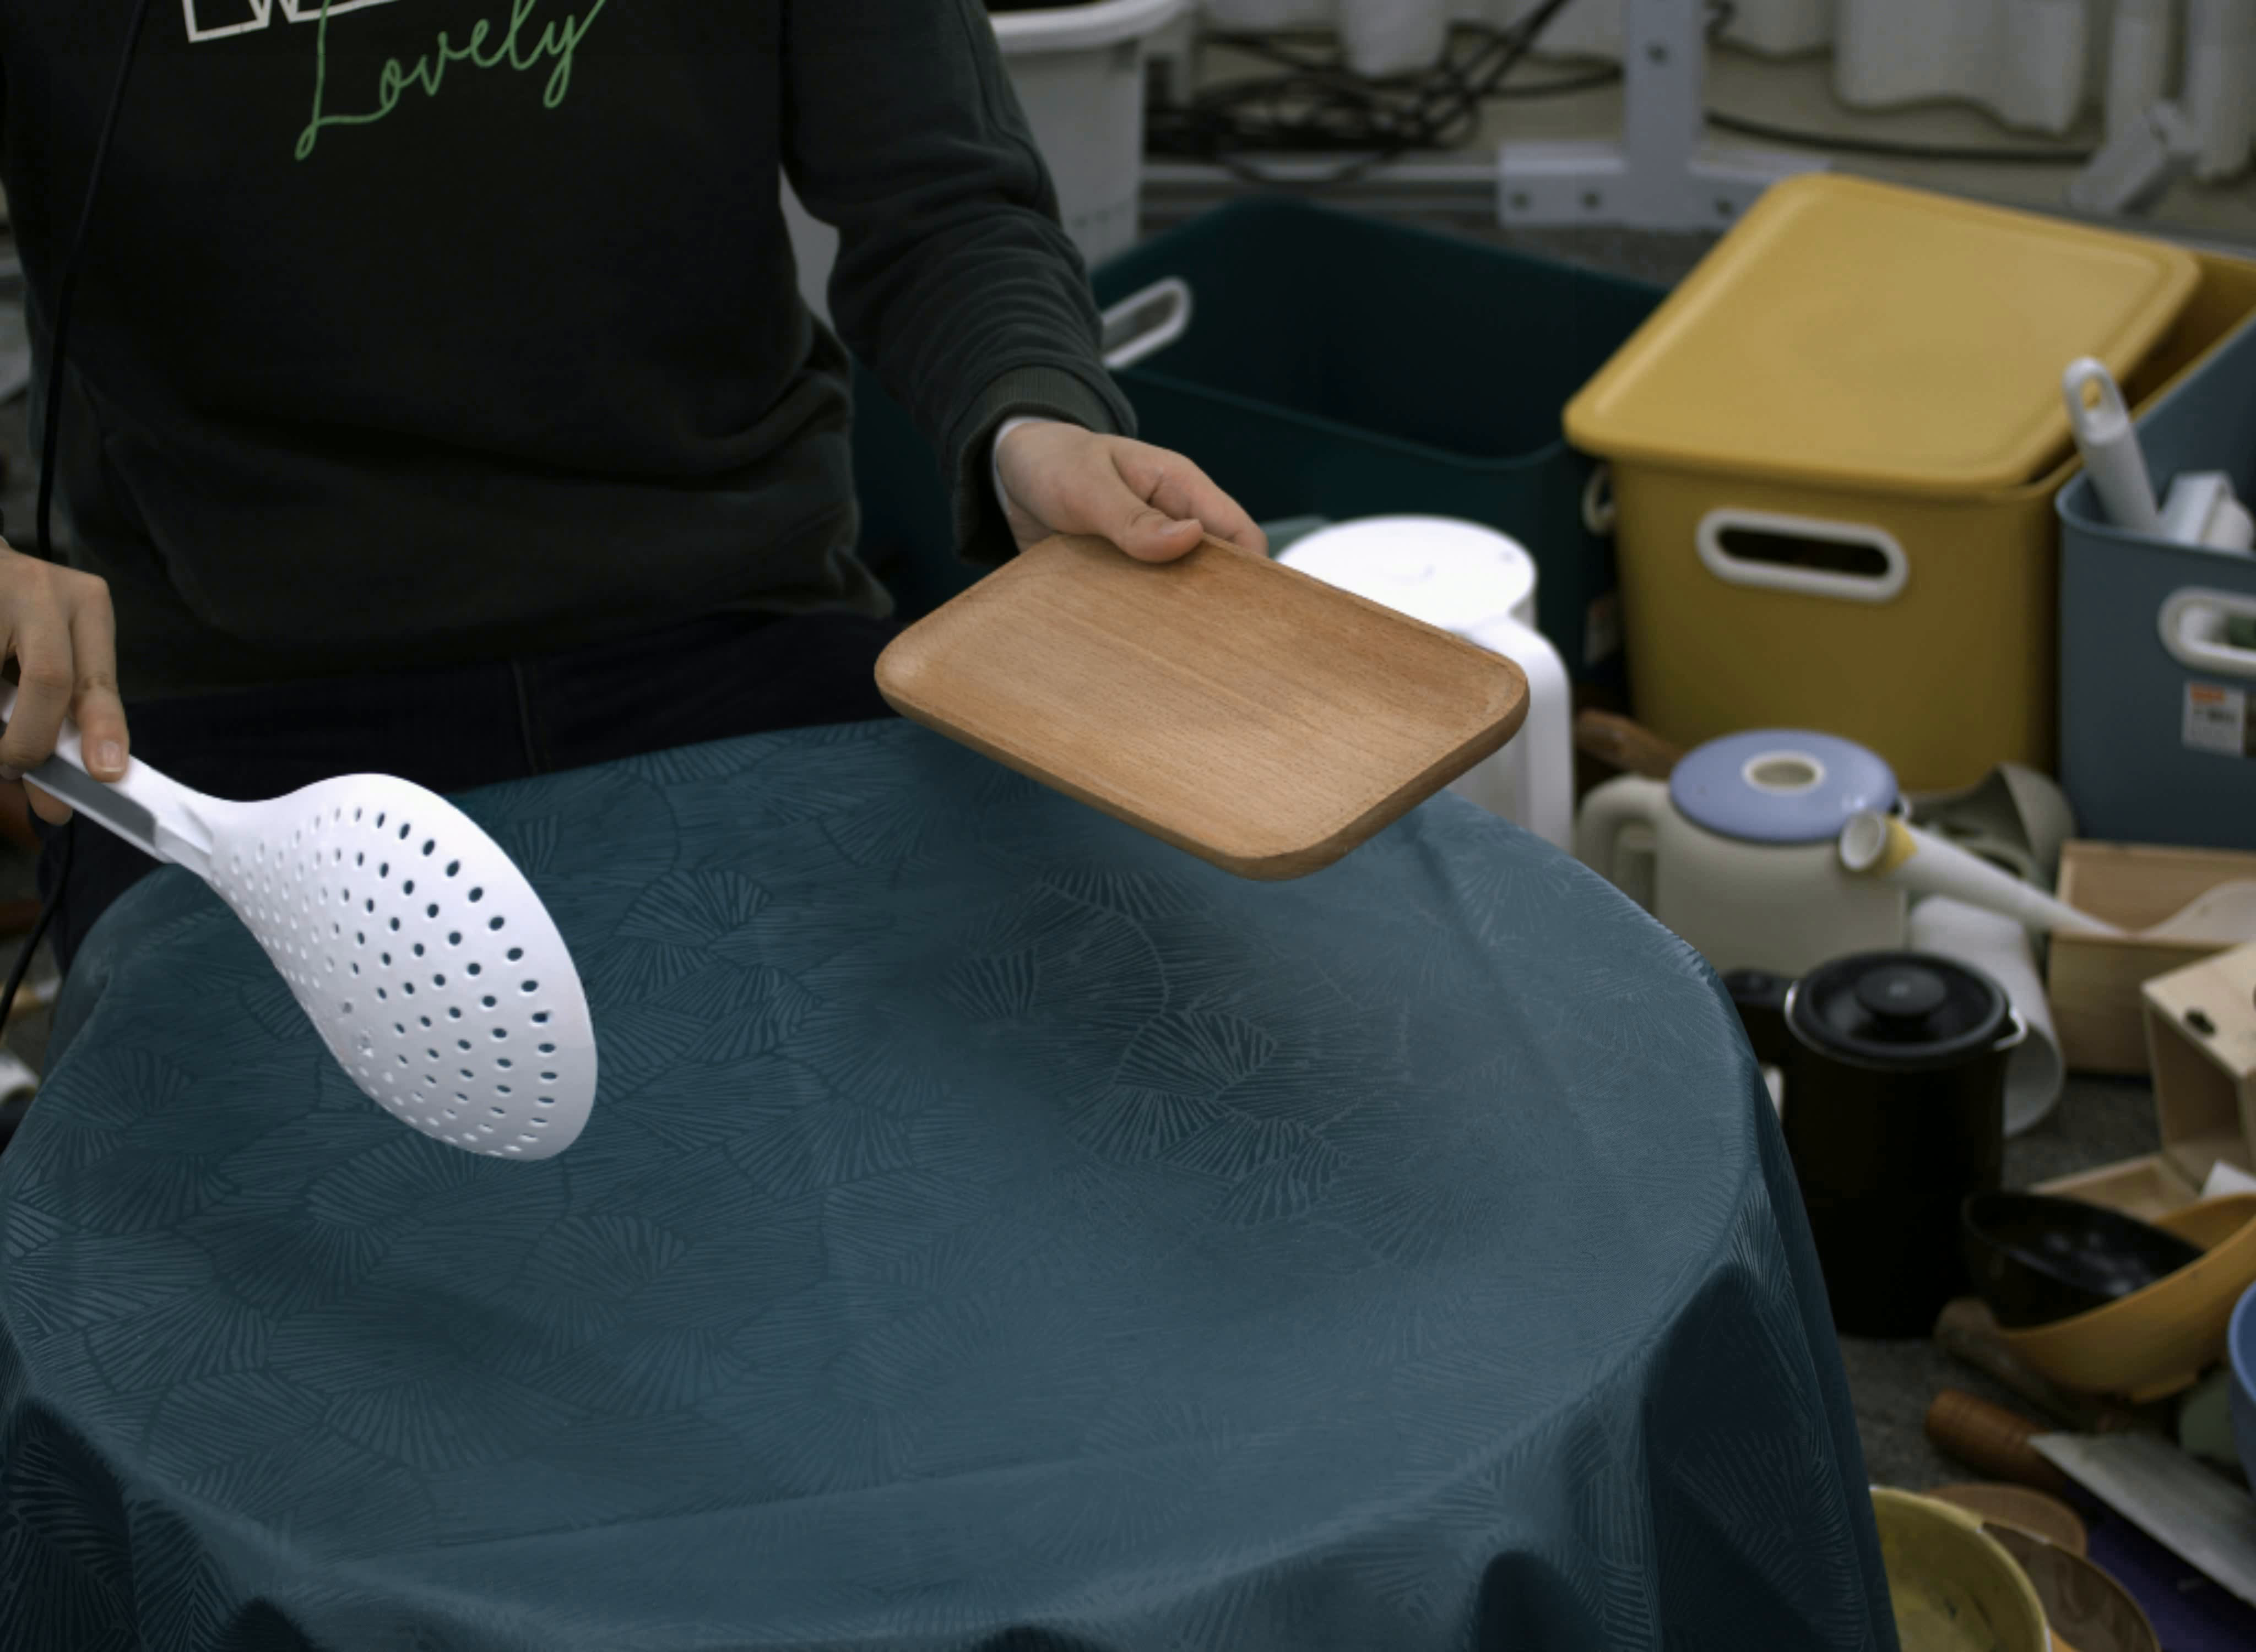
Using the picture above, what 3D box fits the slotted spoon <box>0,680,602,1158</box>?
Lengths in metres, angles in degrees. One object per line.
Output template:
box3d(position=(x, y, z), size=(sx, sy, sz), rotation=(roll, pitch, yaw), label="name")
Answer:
box3d(position=(-0.298, 0.005, 1.824), size=(0.046, 0.134, 0.350), rotation=(-26, 42, -36), label="slotted spoon")

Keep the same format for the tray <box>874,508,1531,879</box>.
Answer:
box3d(position=(0.023, -0.047, 1.912), size=(0.132, 0.022, 0.250), rotation=(-31, 32, -25), label="tray")
